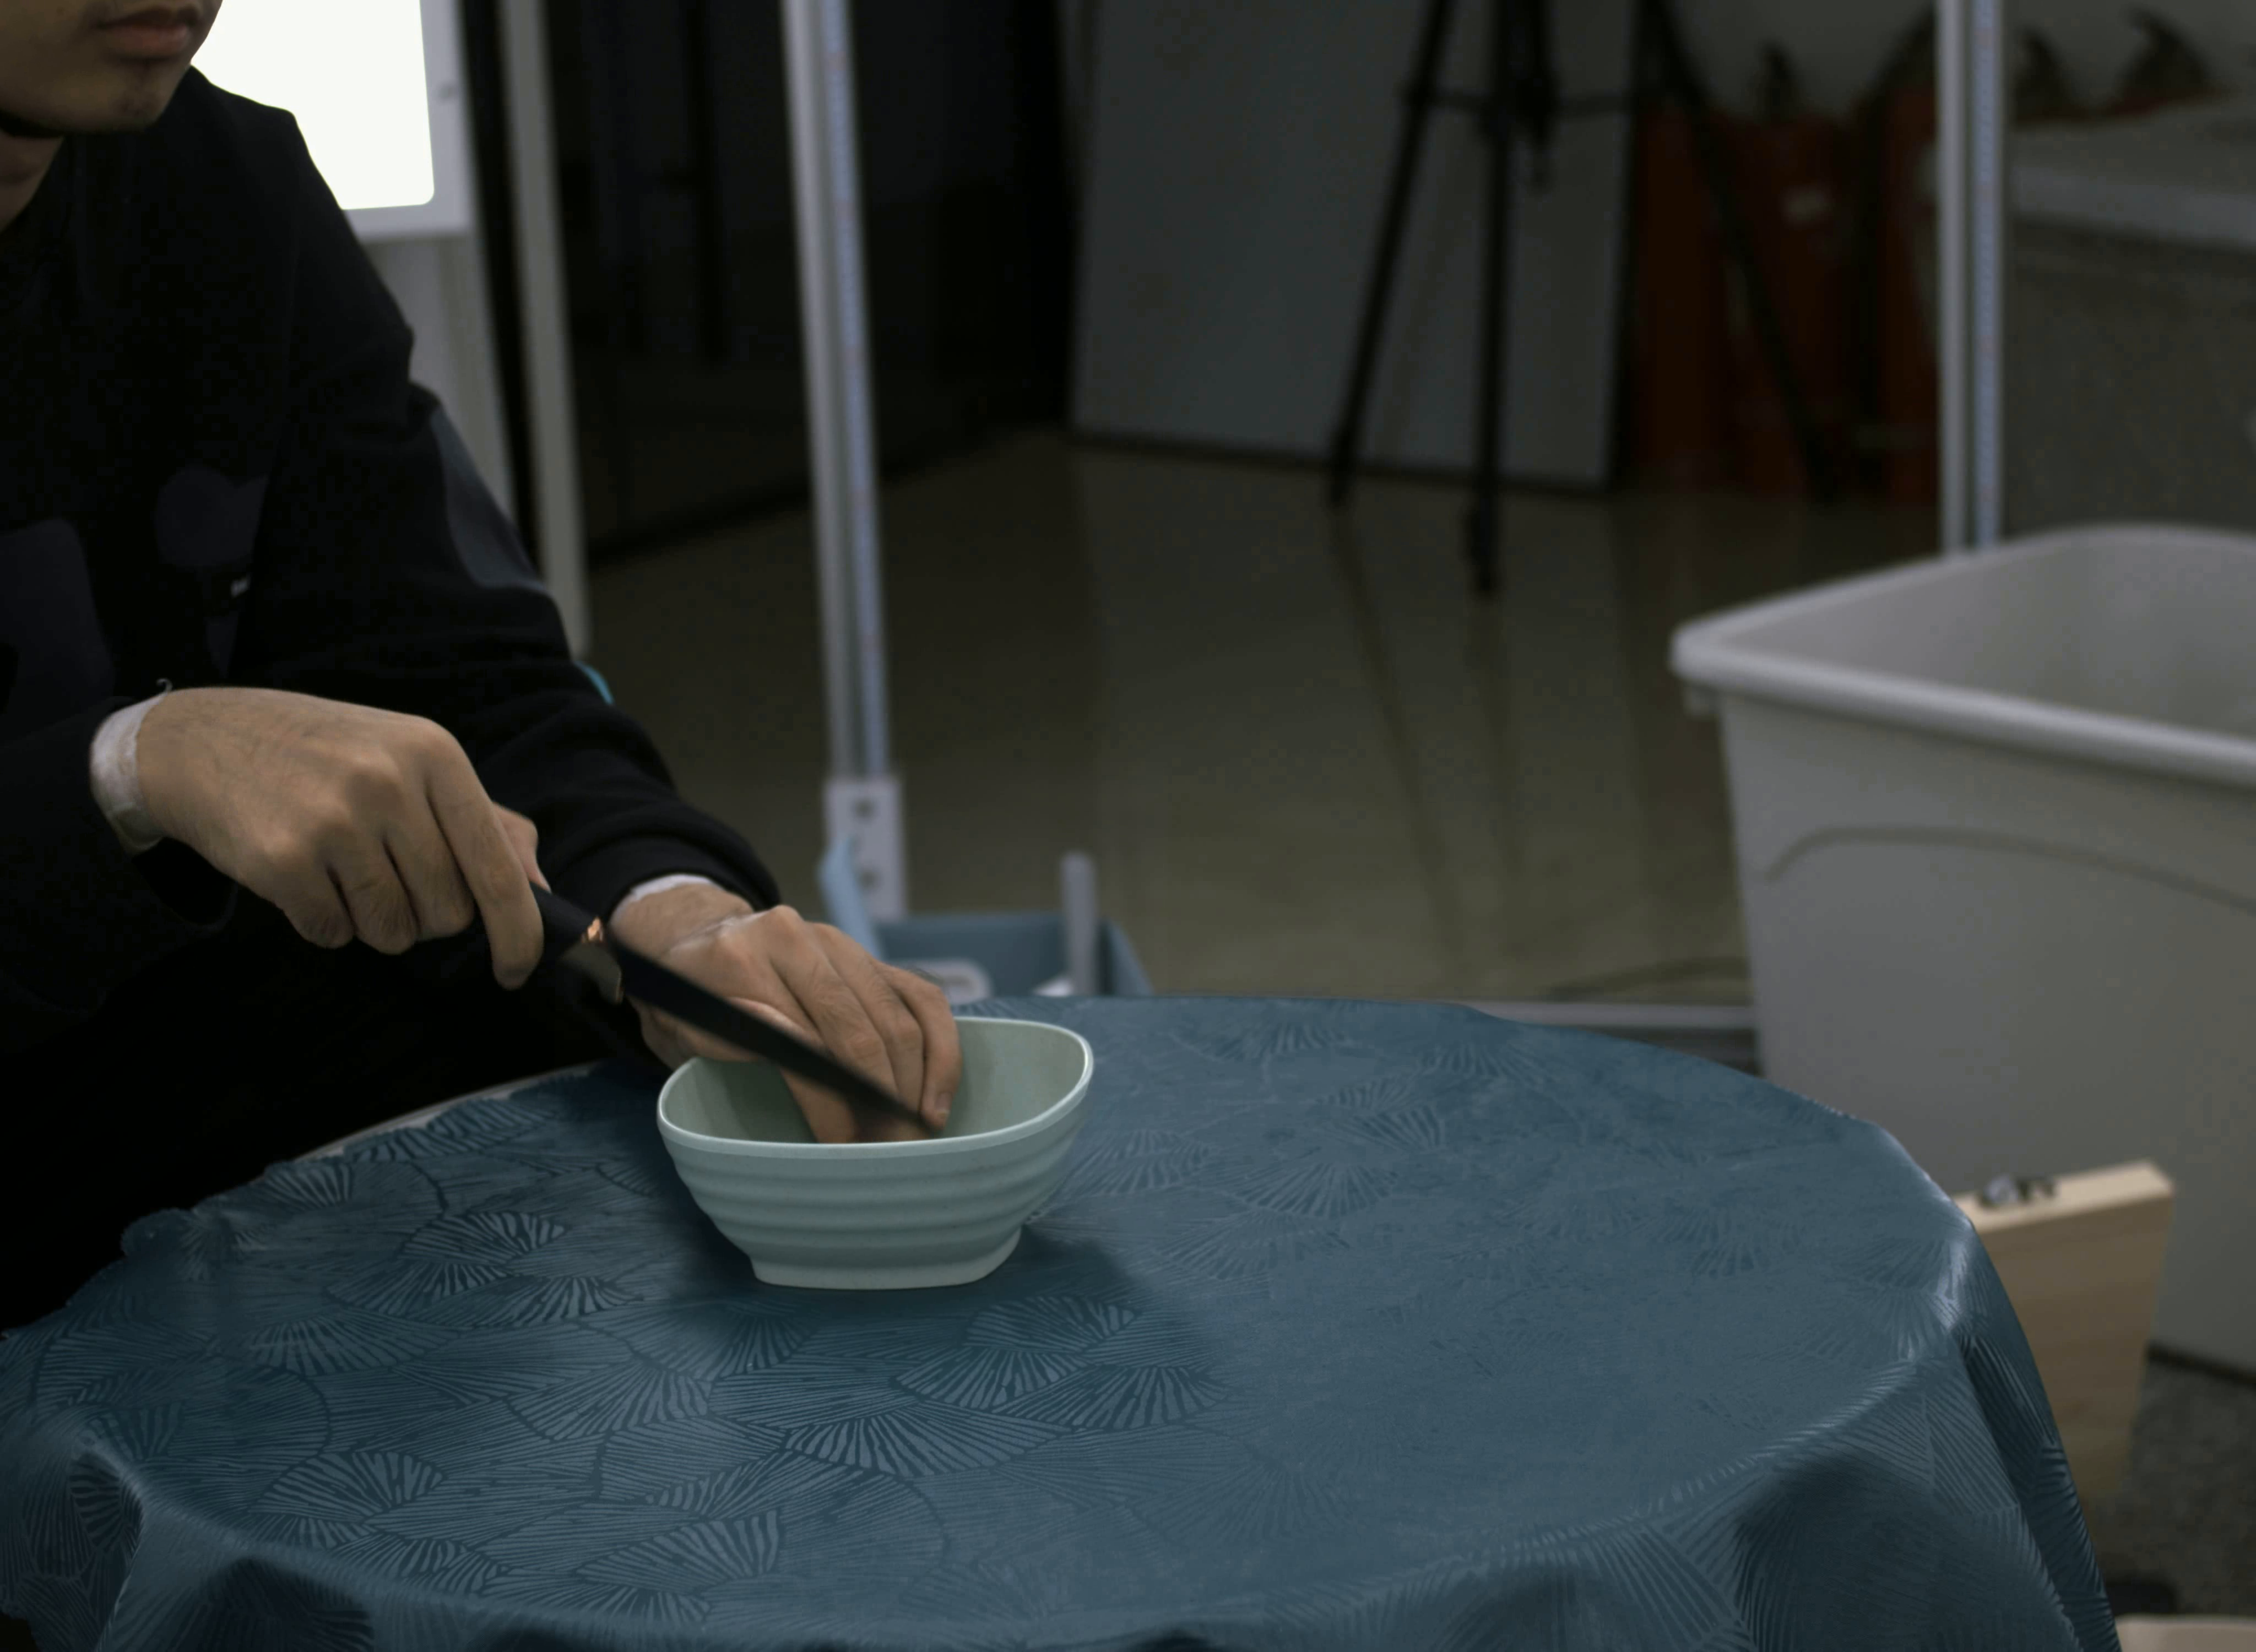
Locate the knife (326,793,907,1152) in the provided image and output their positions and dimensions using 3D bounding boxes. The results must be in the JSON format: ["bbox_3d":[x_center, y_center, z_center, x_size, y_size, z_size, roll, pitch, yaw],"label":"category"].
[{"bbox_3d":[-0.155,0.051,1.703,0.224,0.026,0.017,30,42,4],"label":"knife"}]

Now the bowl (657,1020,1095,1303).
[{"bbox_3d":[-0.078,0.110,1.725,0.149,0.059,0.152,-5,15,0],"label":"bowl"}]
